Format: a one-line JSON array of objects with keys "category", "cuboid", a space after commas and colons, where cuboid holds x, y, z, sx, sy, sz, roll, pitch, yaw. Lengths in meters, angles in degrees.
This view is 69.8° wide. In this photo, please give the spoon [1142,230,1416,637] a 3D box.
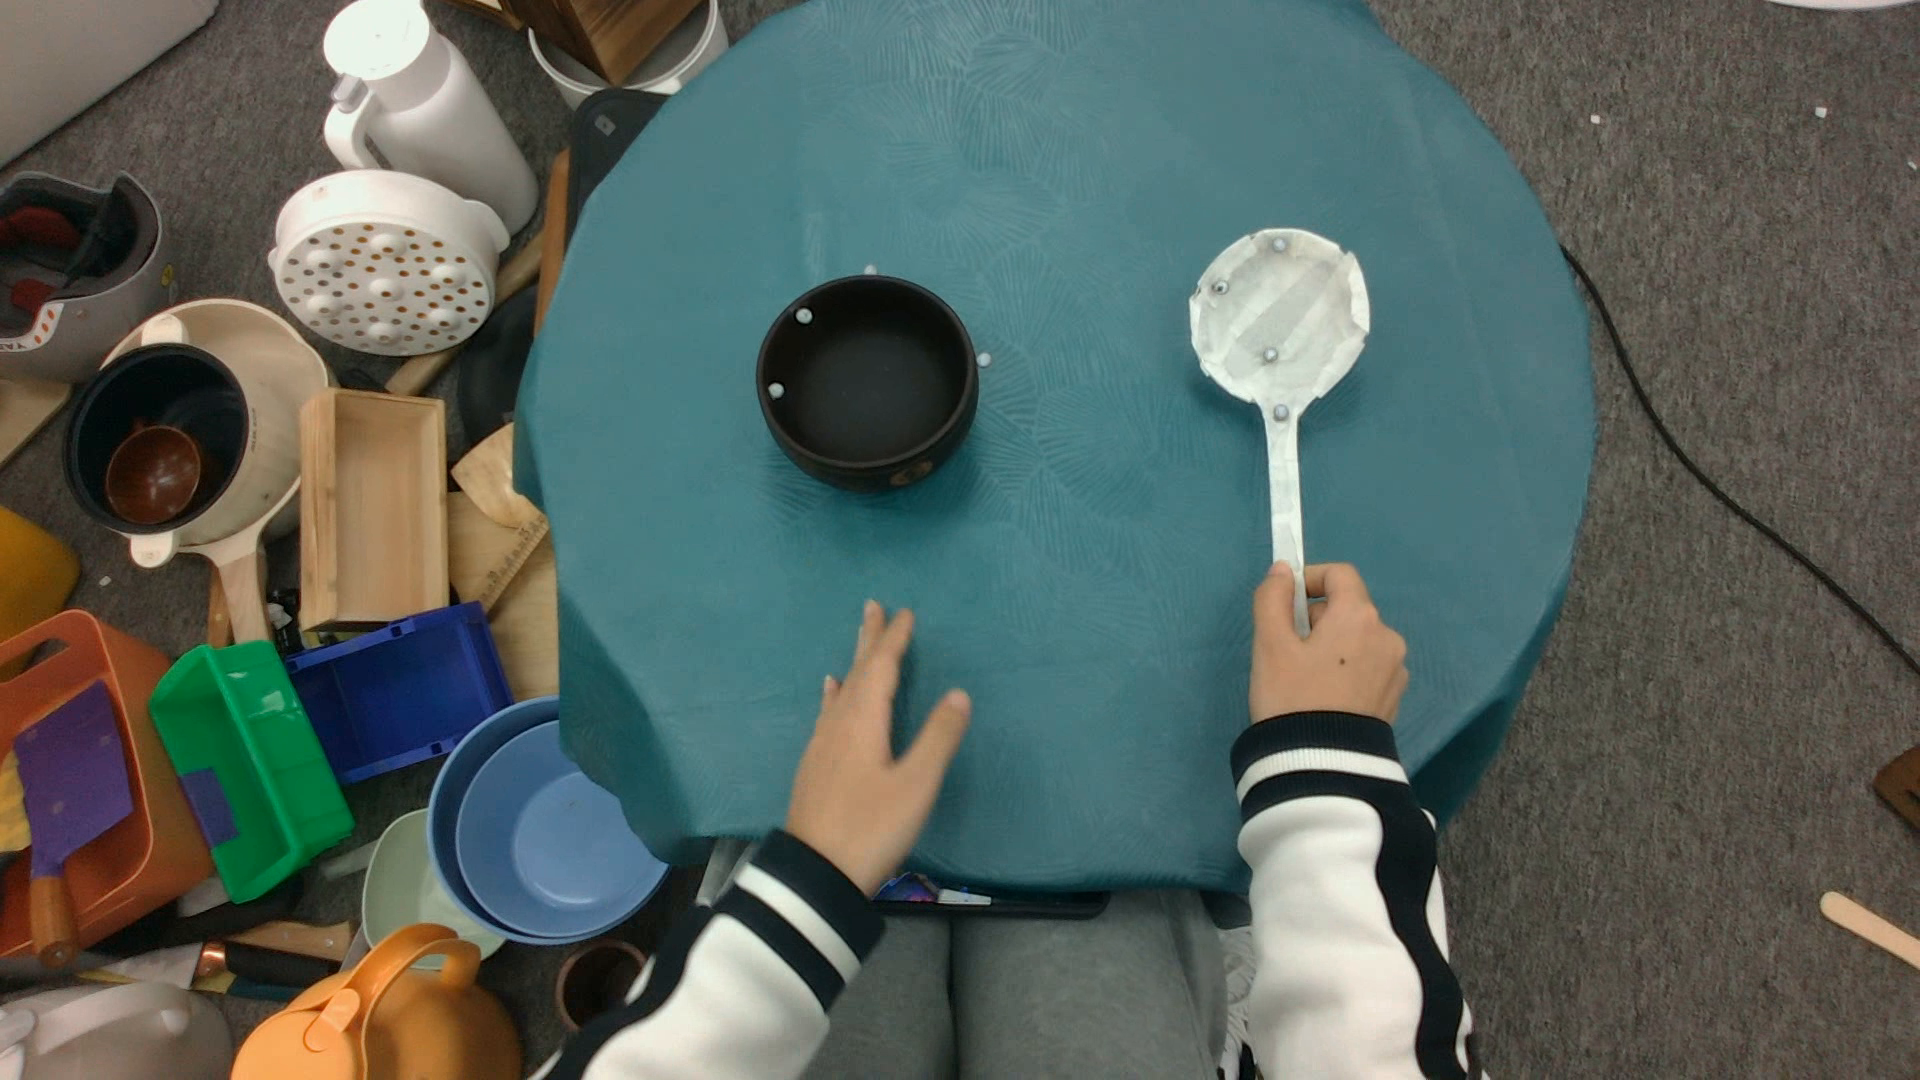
[{"category": "spoon", "cuboid": [0.202, -0.054, 0.796, 0.100, 0.277, 0.059, -30, 30, 15]}]

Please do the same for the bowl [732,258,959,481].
[{"category": "bowl", "cuboid": [-0.059, -0.085, 0.742, 0.118, 0.069, 0.118, -1, 70, 2]}]
